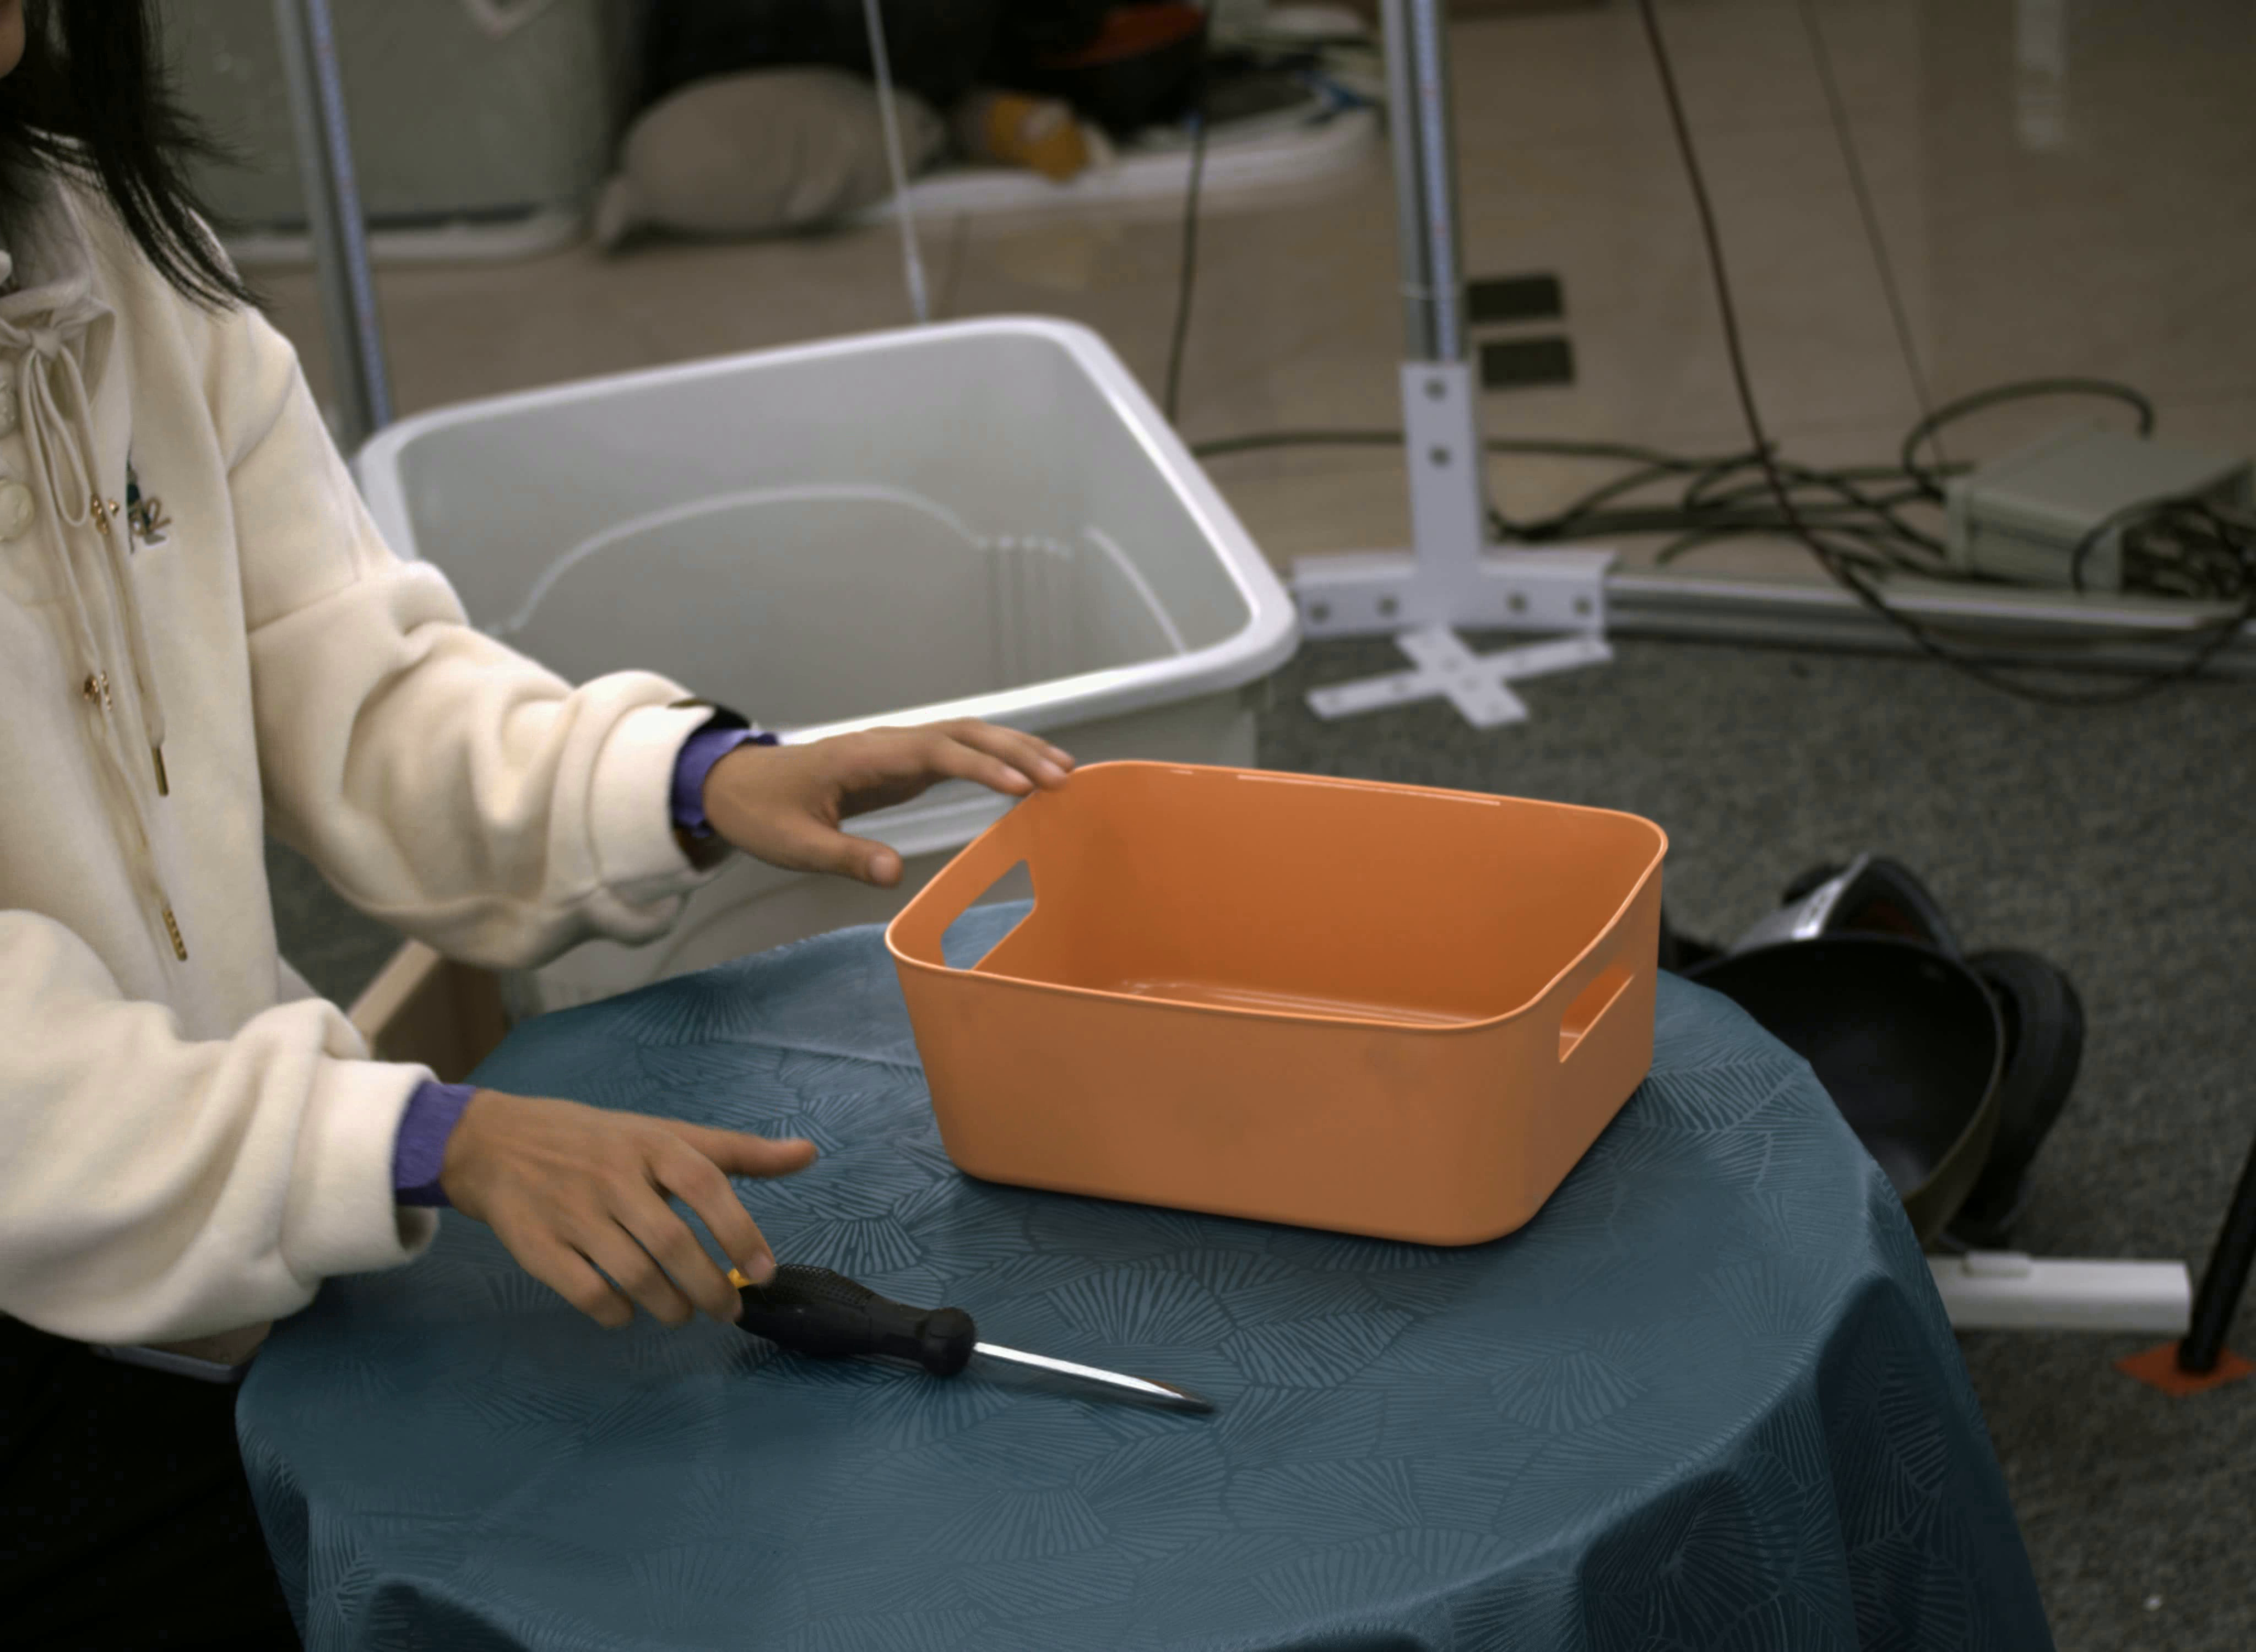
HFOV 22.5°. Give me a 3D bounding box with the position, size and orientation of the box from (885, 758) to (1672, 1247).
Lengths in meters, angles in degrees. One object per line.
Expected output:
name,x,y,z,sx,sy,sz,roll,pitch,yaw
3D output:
box,0.062,0.067,2.164,0.272,0.104,0.197,7,29,25

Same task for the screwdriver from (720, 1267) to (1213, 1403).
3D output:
screwdriver,-0.061,0.188,2.033,0.197,0.032,0.031,11,30,28
